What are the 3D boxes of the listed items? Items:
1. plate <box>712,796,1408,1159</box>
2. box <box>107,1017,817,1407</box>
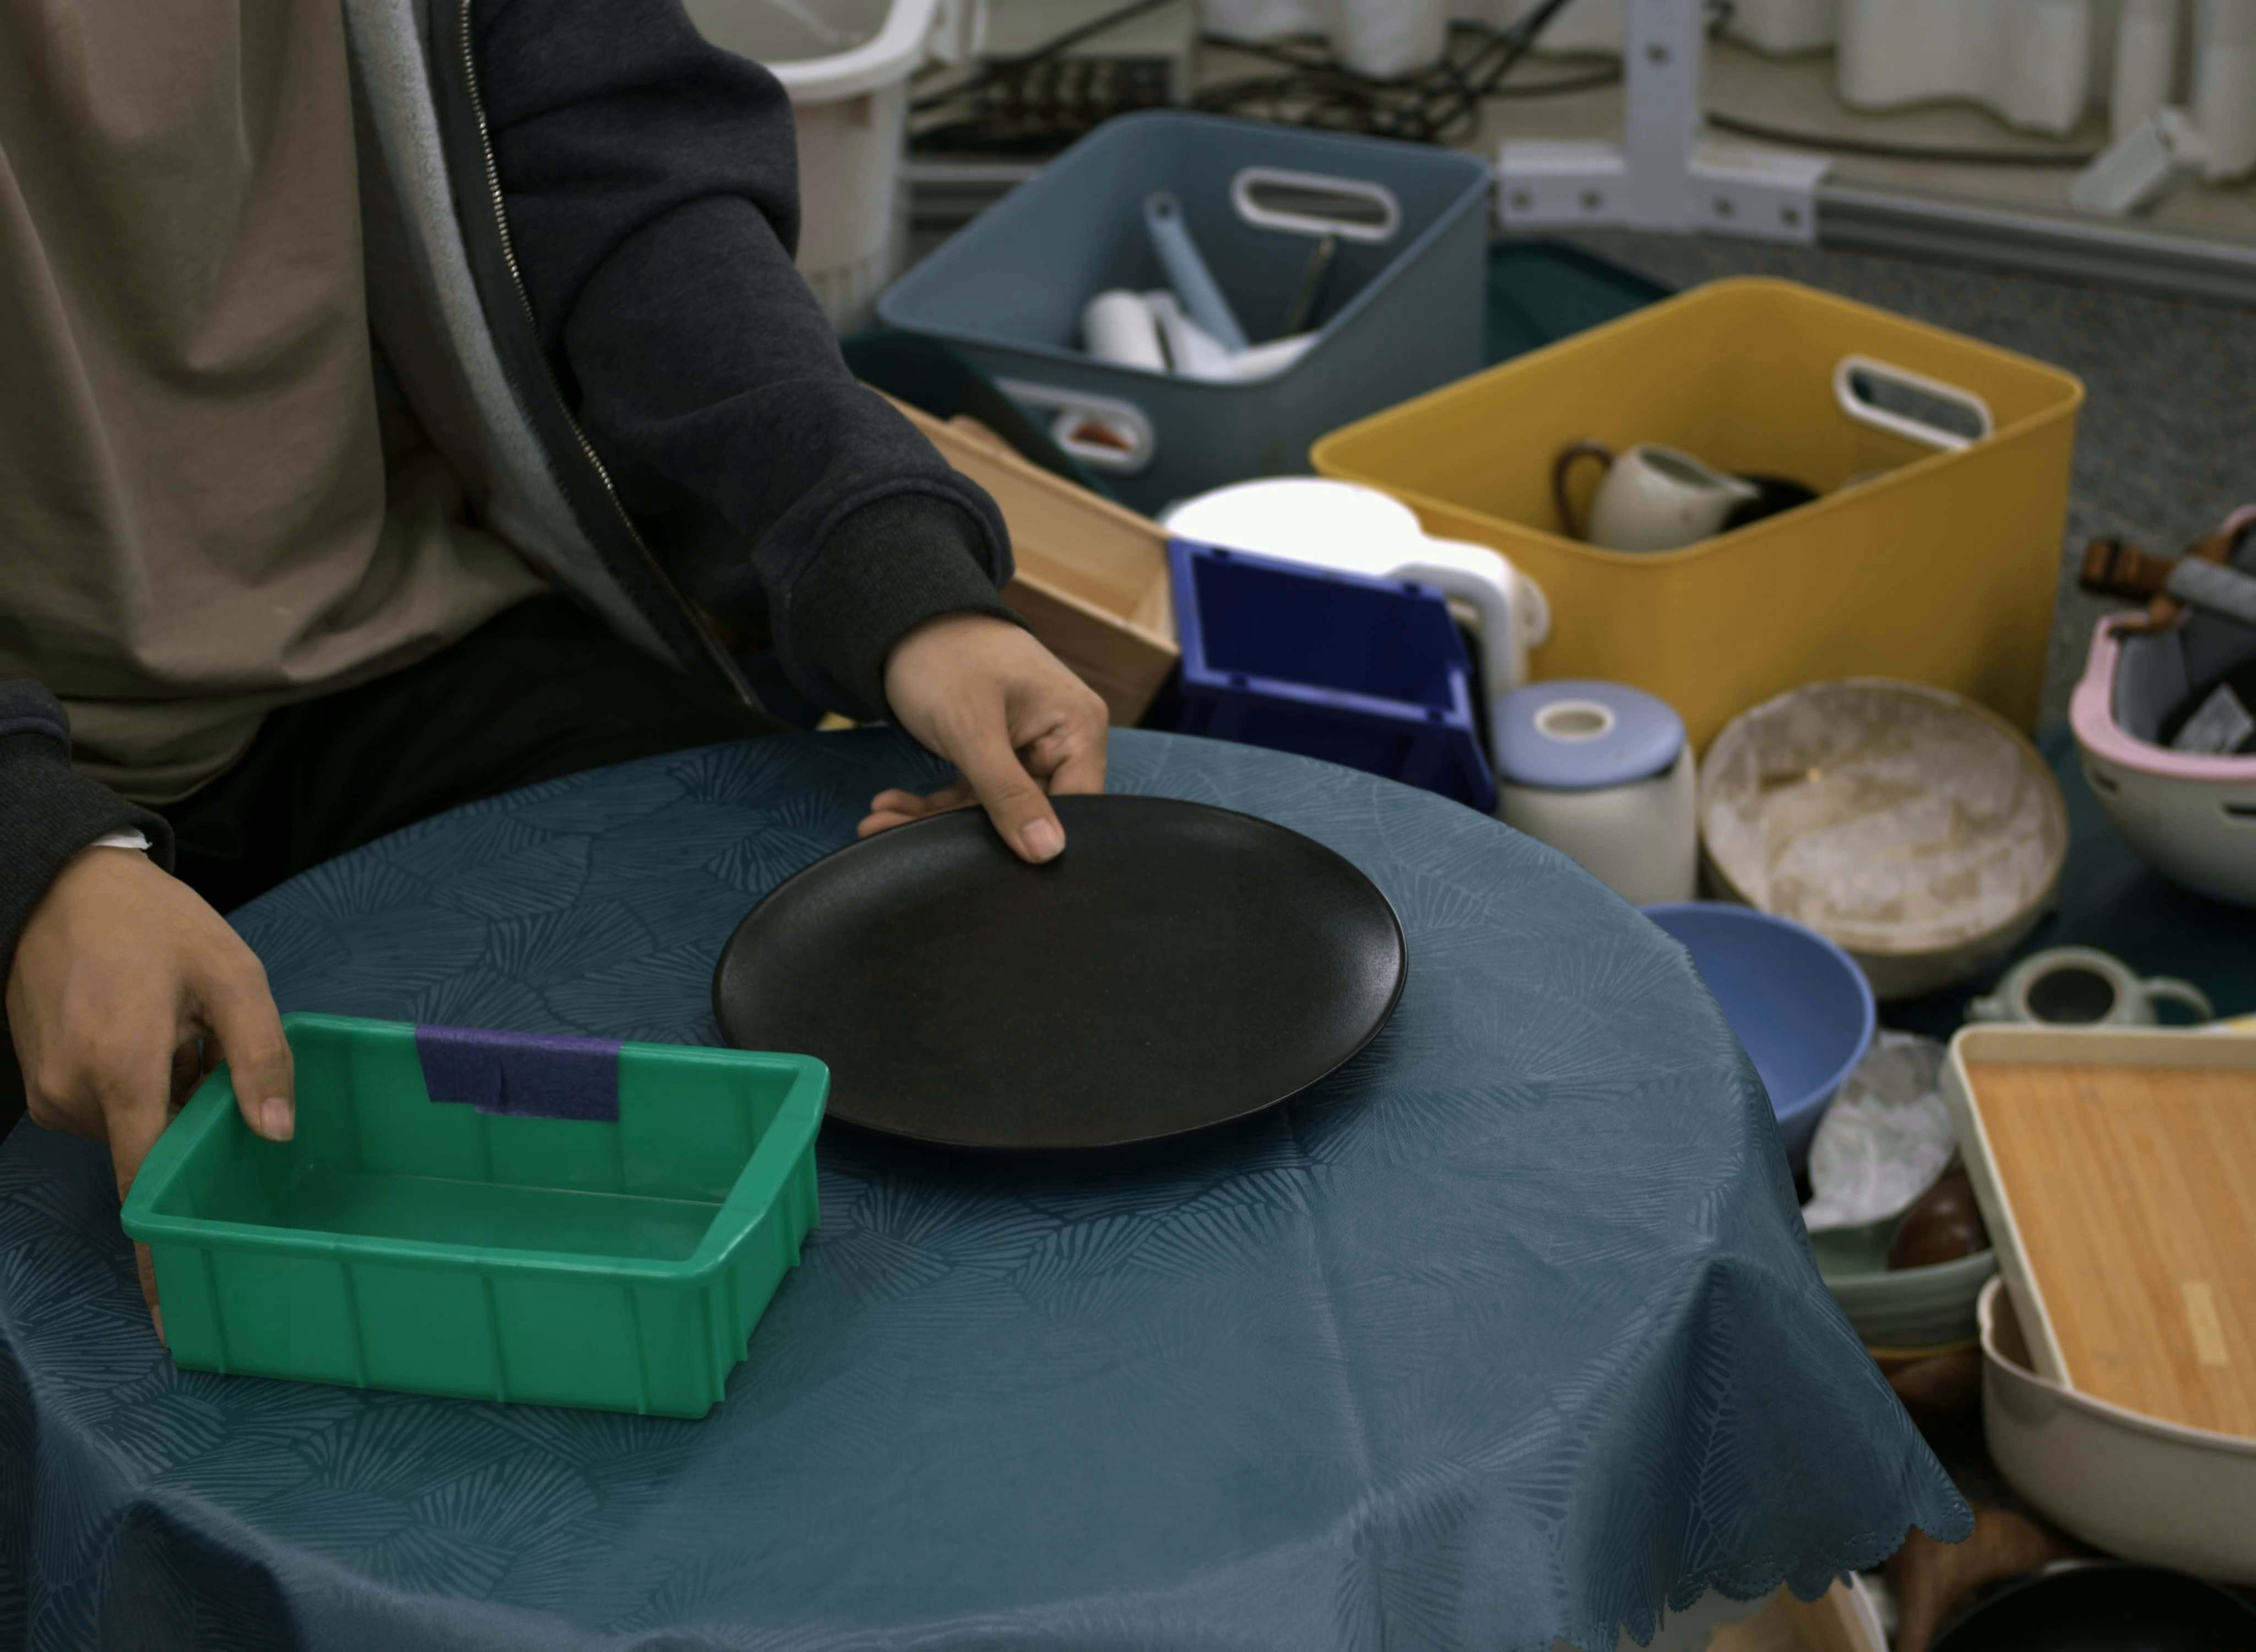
[{"bbox_3d":[-0.023,0.057,1.961,0.243,0.023,0.248,-2,29,2],"label":"plate"},{"bbox_3d":[-0.209,0.126,1.807,0.209,0.065,0.141,2,26,13],"label":"box"}]
